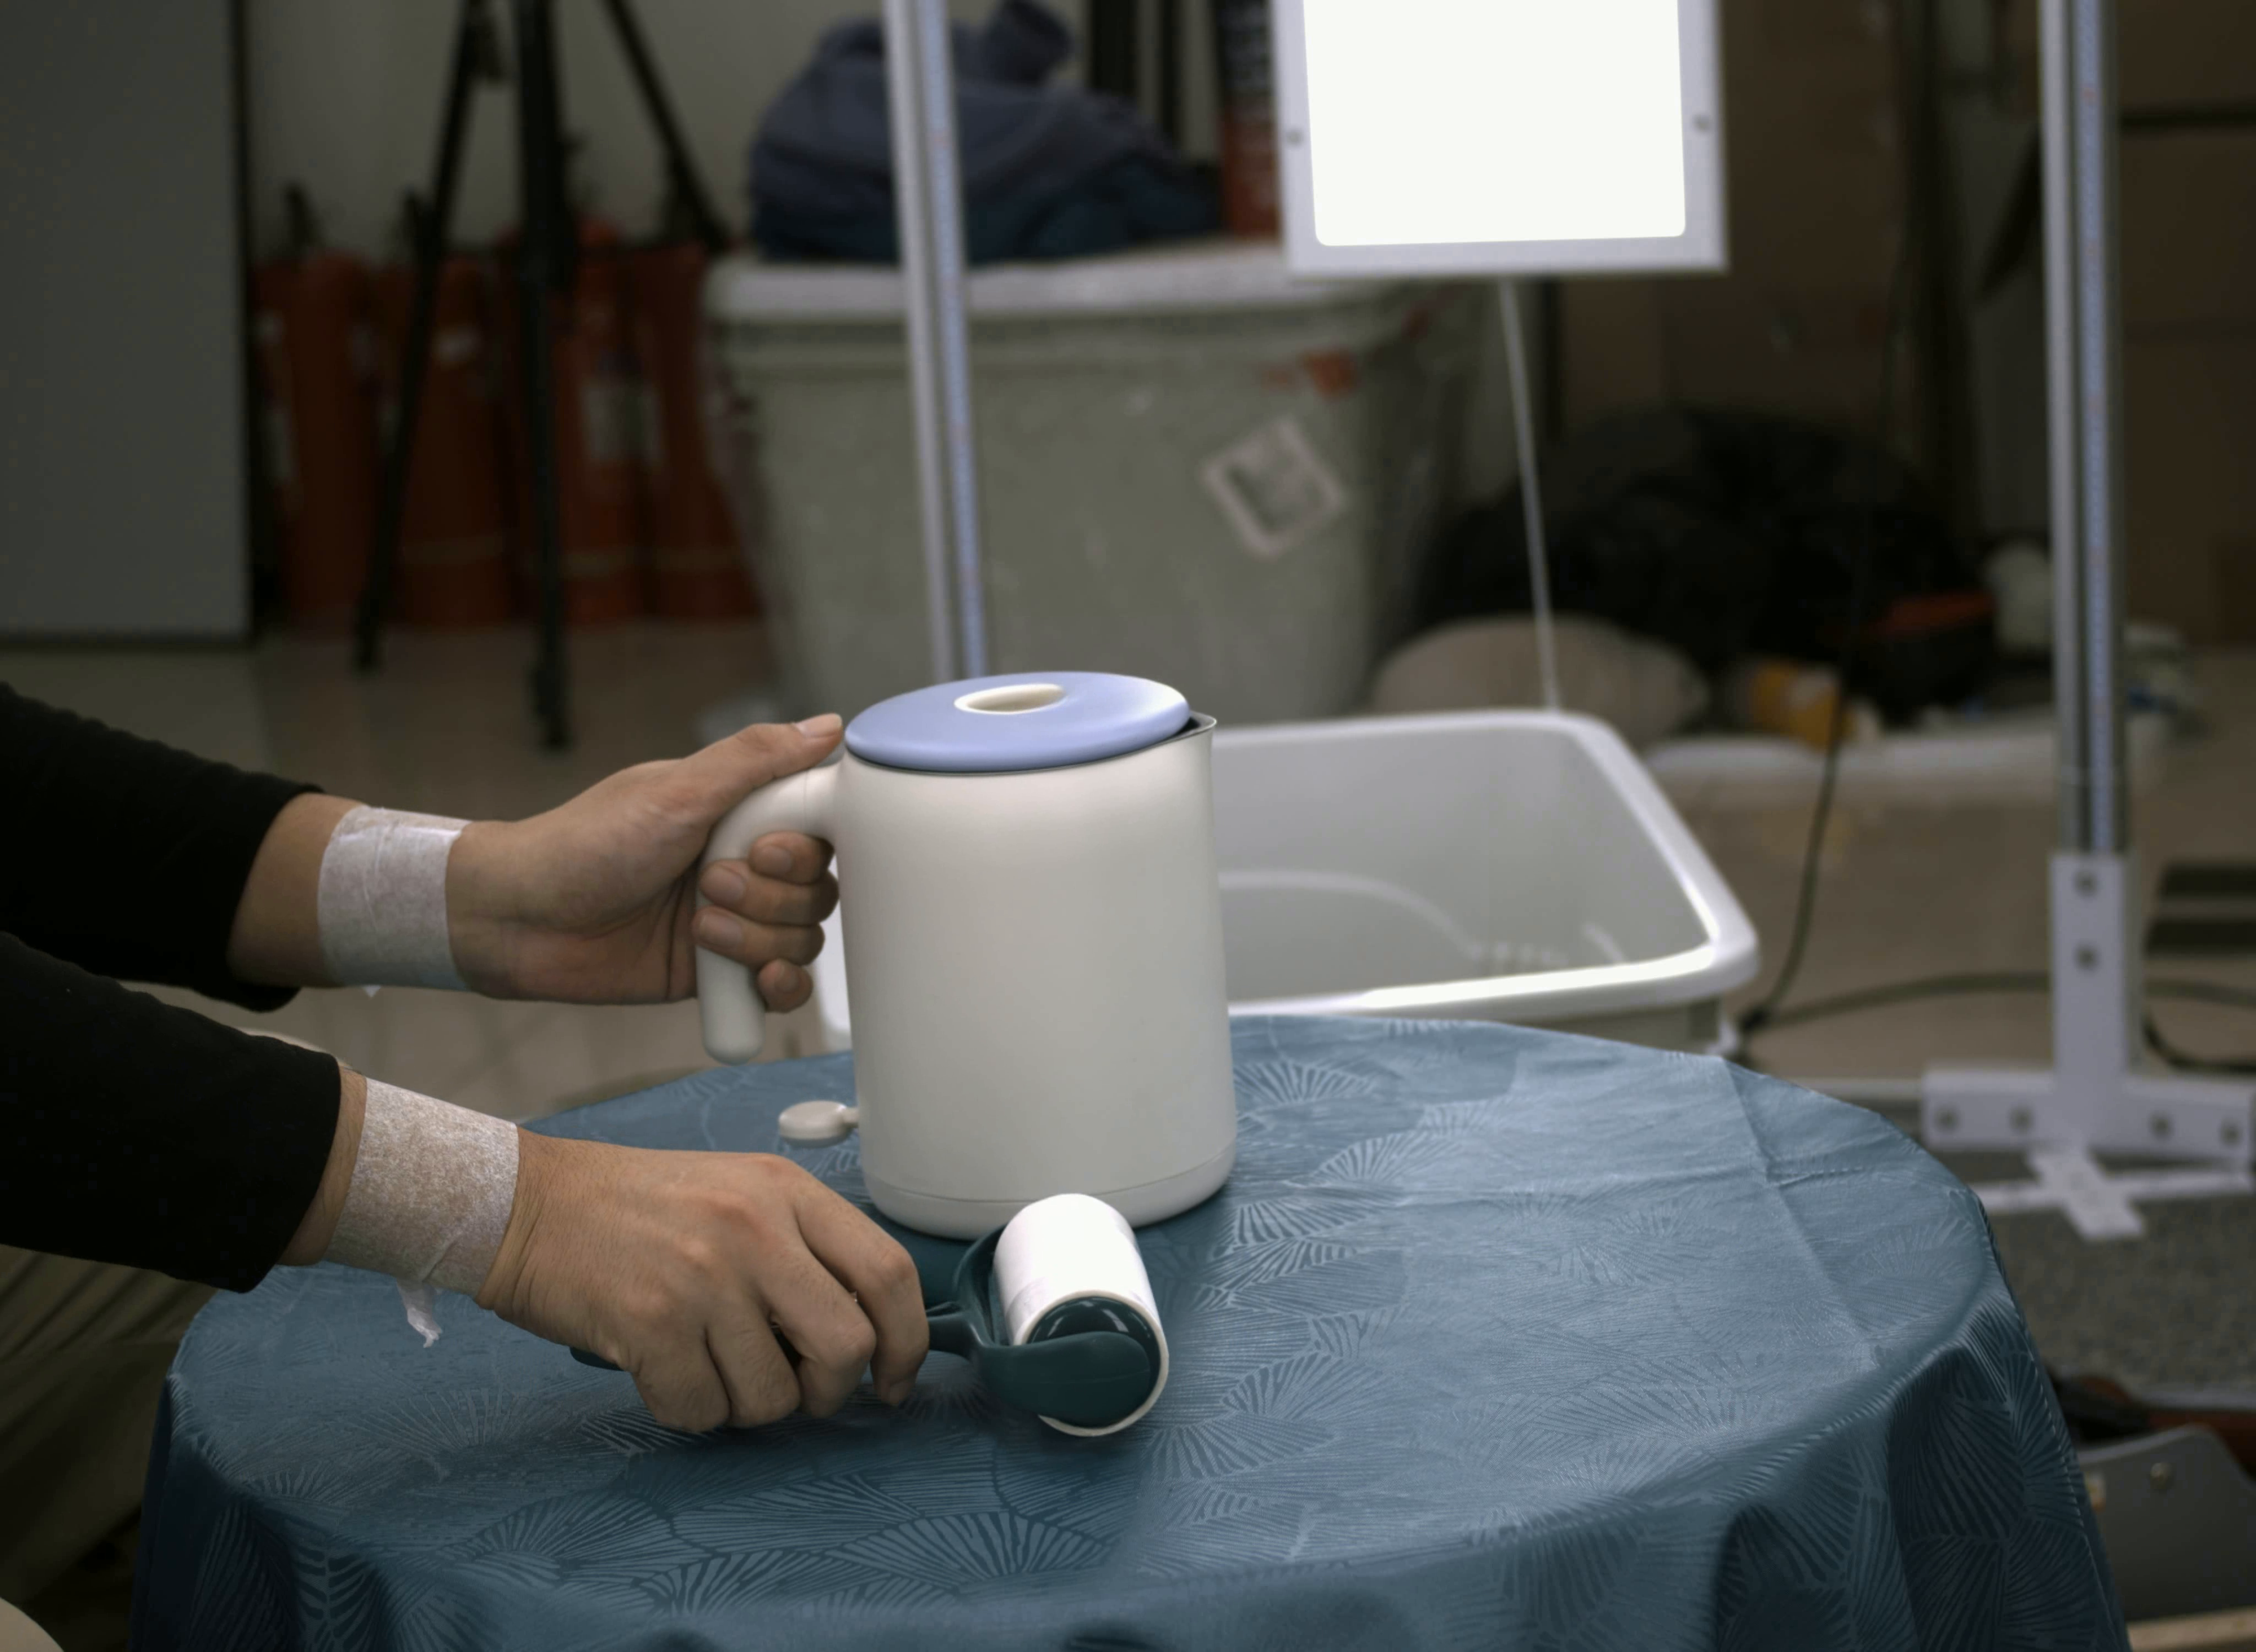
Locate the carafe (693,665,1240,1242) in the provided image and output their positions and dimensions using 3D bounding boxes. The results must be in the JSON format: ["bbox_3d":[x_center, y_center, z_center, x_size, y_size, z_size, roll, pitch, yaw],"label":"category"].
[{"bbox_3d":[-0.056,0.045,1.891,0.192,0.183,0.131,-5,13,10],"label":"carafe"}]

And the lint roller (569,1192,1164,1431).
[{"bbox_3d":[-0.083,0.150,1.702,0.179,0.048,0.134,-1,13,-4],"label":"lint roller"}]
